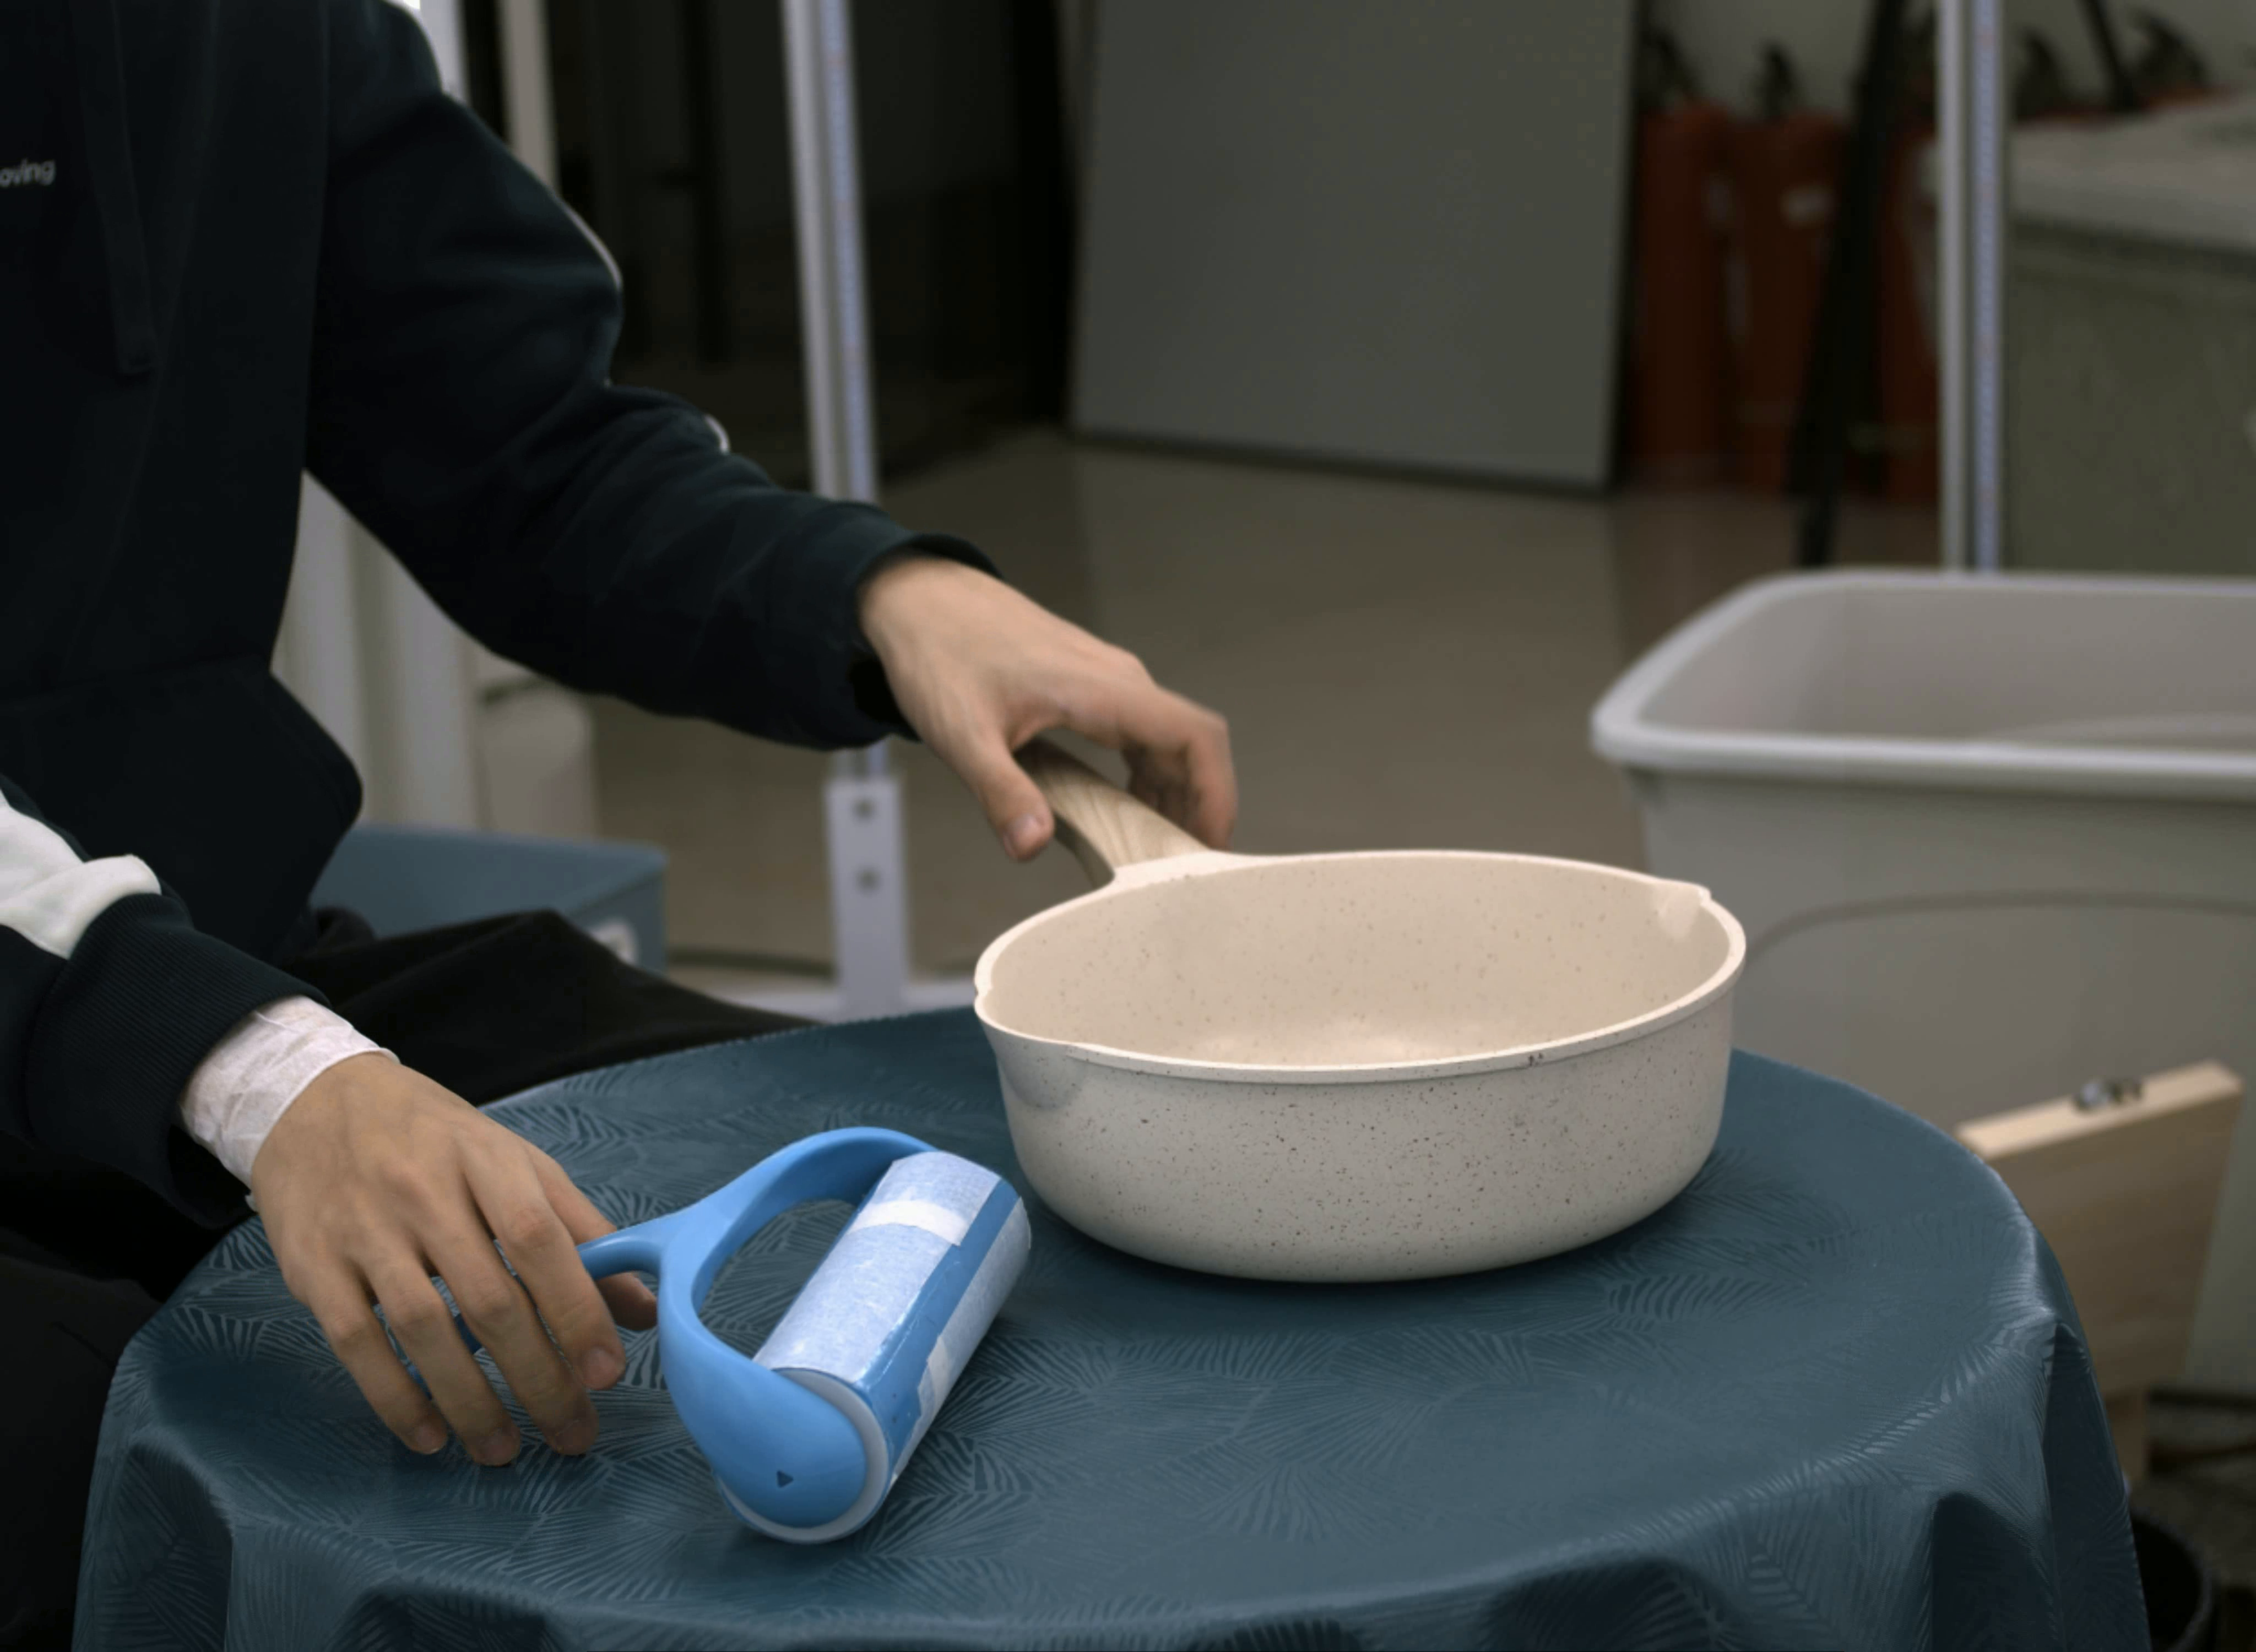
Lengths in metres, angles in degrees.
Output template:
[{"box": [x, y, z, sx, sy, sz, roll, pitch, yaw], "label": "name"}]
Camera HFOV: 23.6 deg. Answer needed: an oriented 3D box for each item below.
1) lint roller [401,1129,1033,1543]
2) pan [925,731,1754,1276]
[{"box": [-0.129, 0.148, 1.580, 0.179, 0.068, 0.228, -2, 16, 9], "label": "lint roller"}, {"box": [0.039, 0.053, 1.826, 0.258, 0.103, 0.439, -12, 16, -24], "label": "pan"}]
